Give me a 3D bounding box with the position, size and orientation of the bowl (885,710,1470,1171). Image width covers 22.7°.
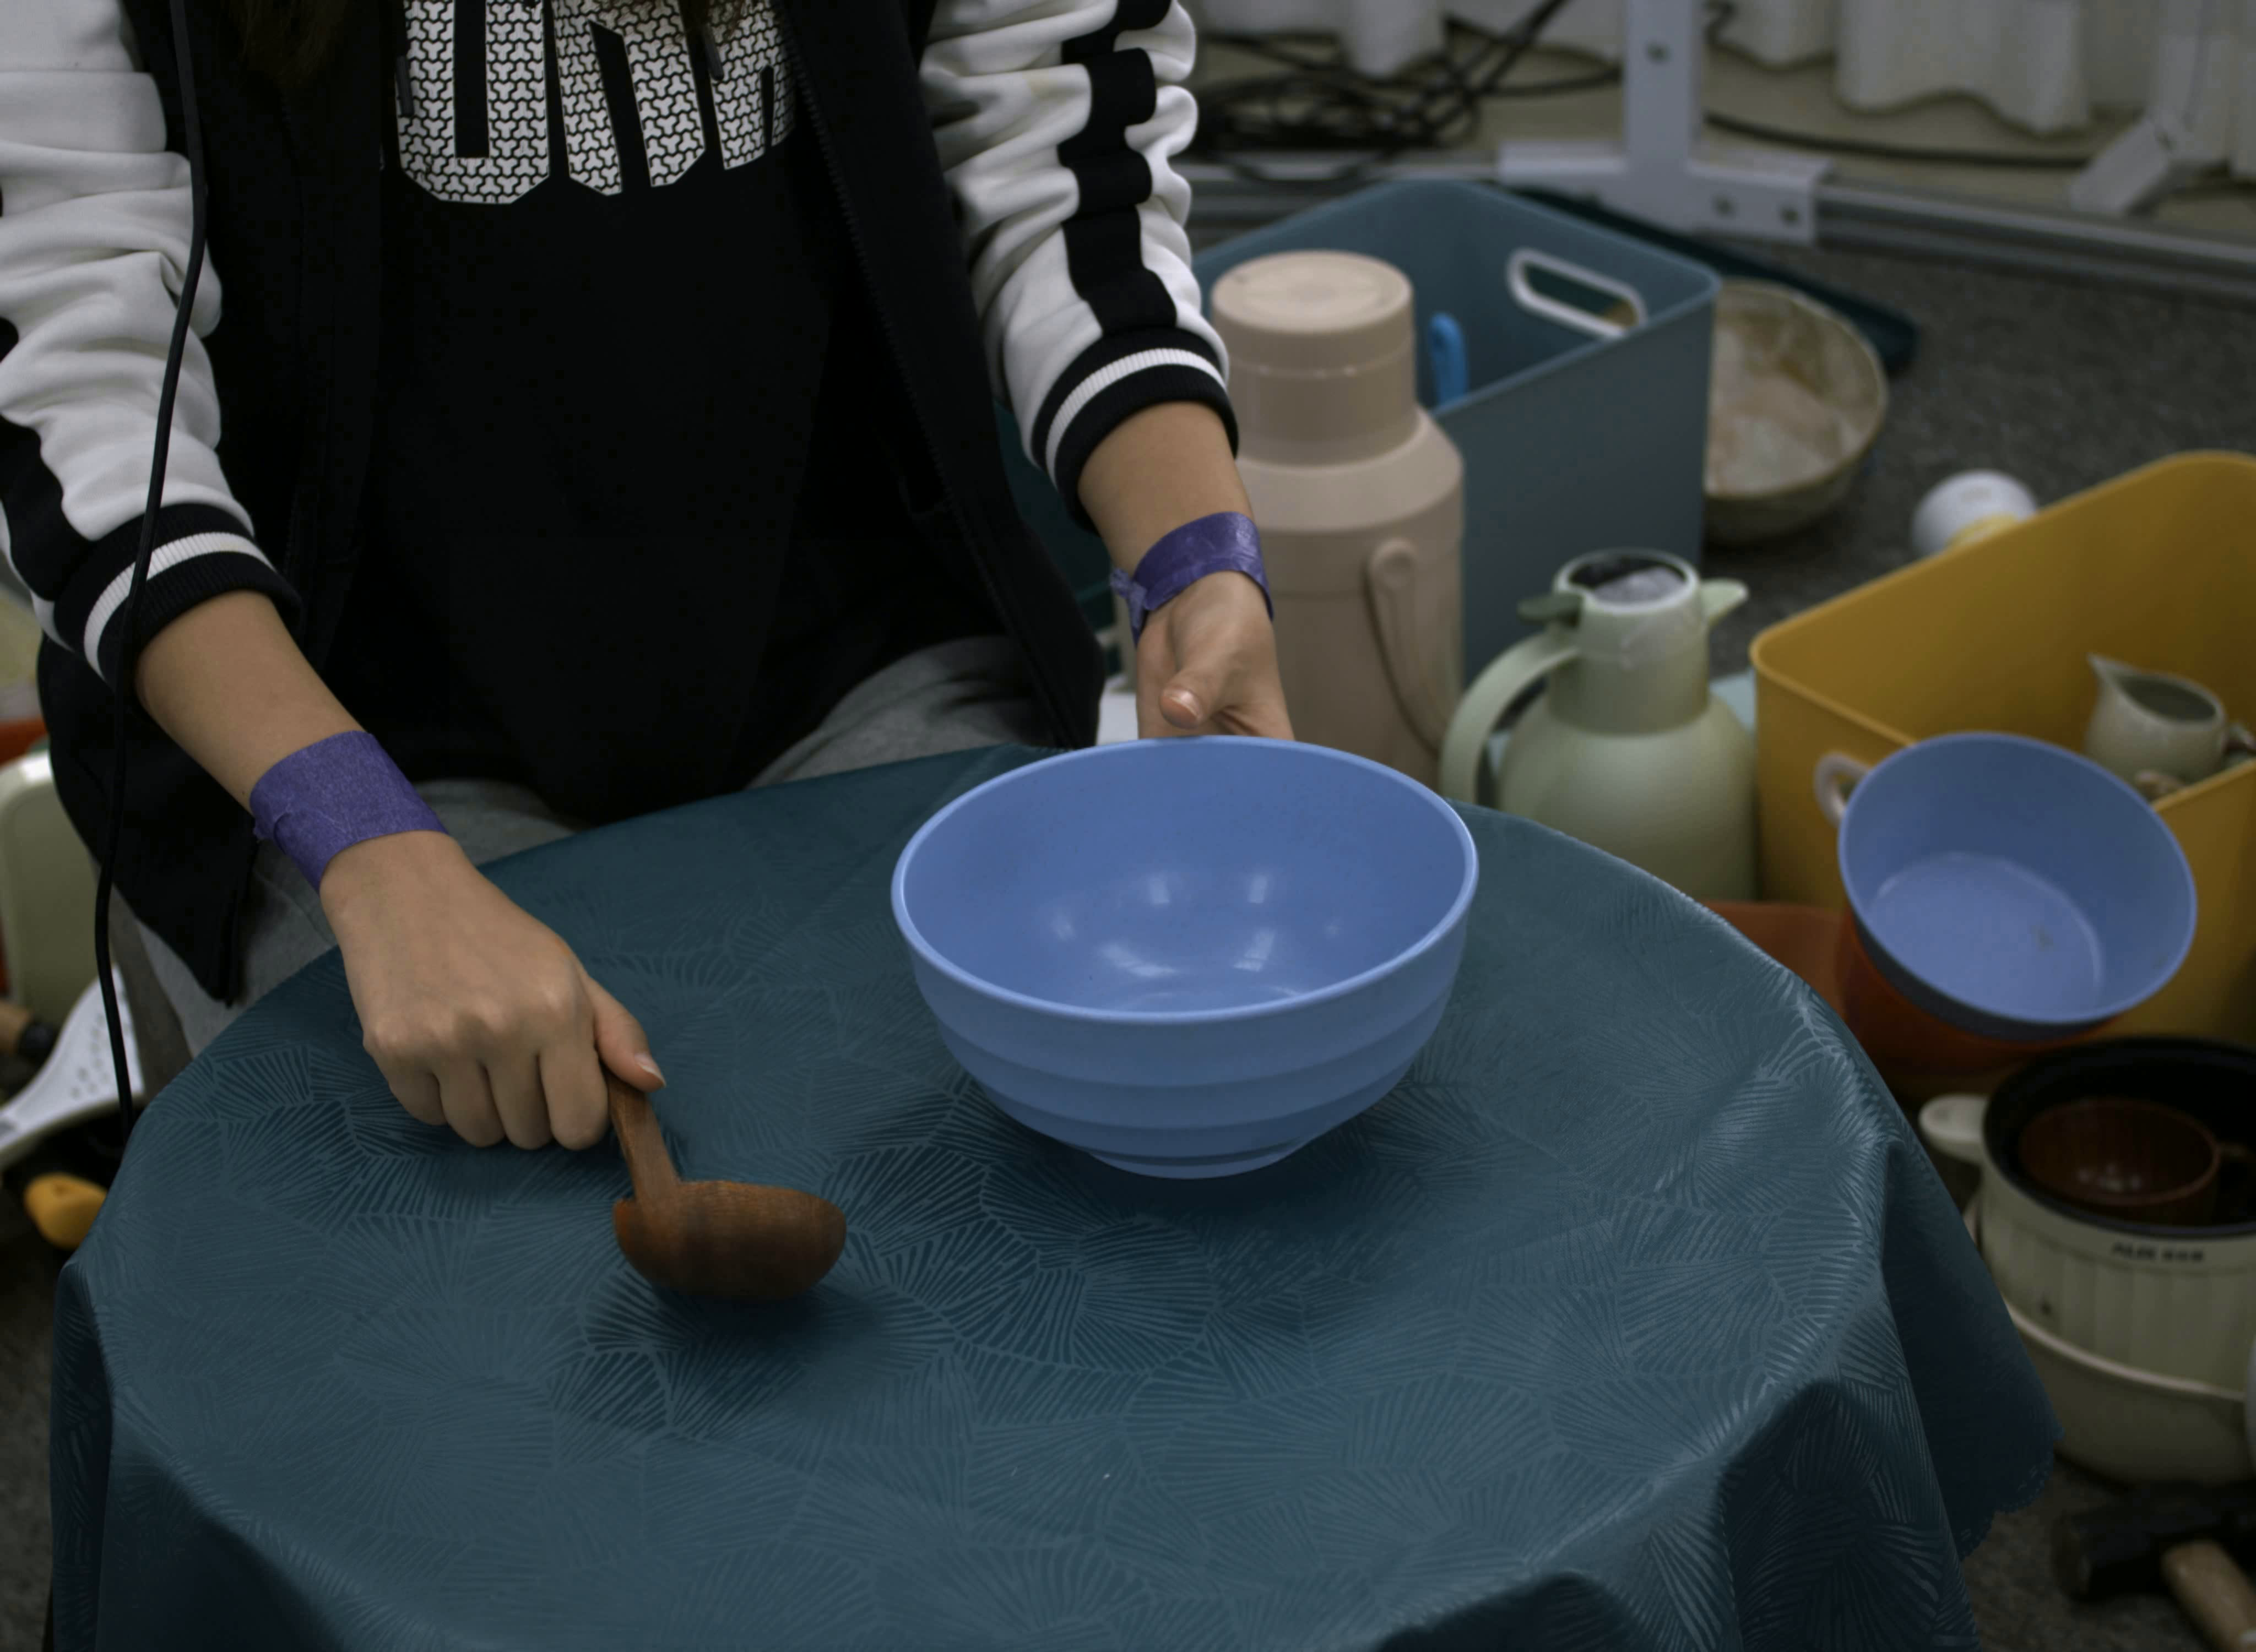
[{"bbox_3d":[0.021,0.052,1.894,0.195,0.094,0.200,-5,32,4],"label":"bowl"}]

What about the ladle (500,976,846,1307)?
[{"bbox_3d":[-0.161,0.090,1.872,0.076,0.064,0.262,16,18,-27],"label":"ladle"}]
